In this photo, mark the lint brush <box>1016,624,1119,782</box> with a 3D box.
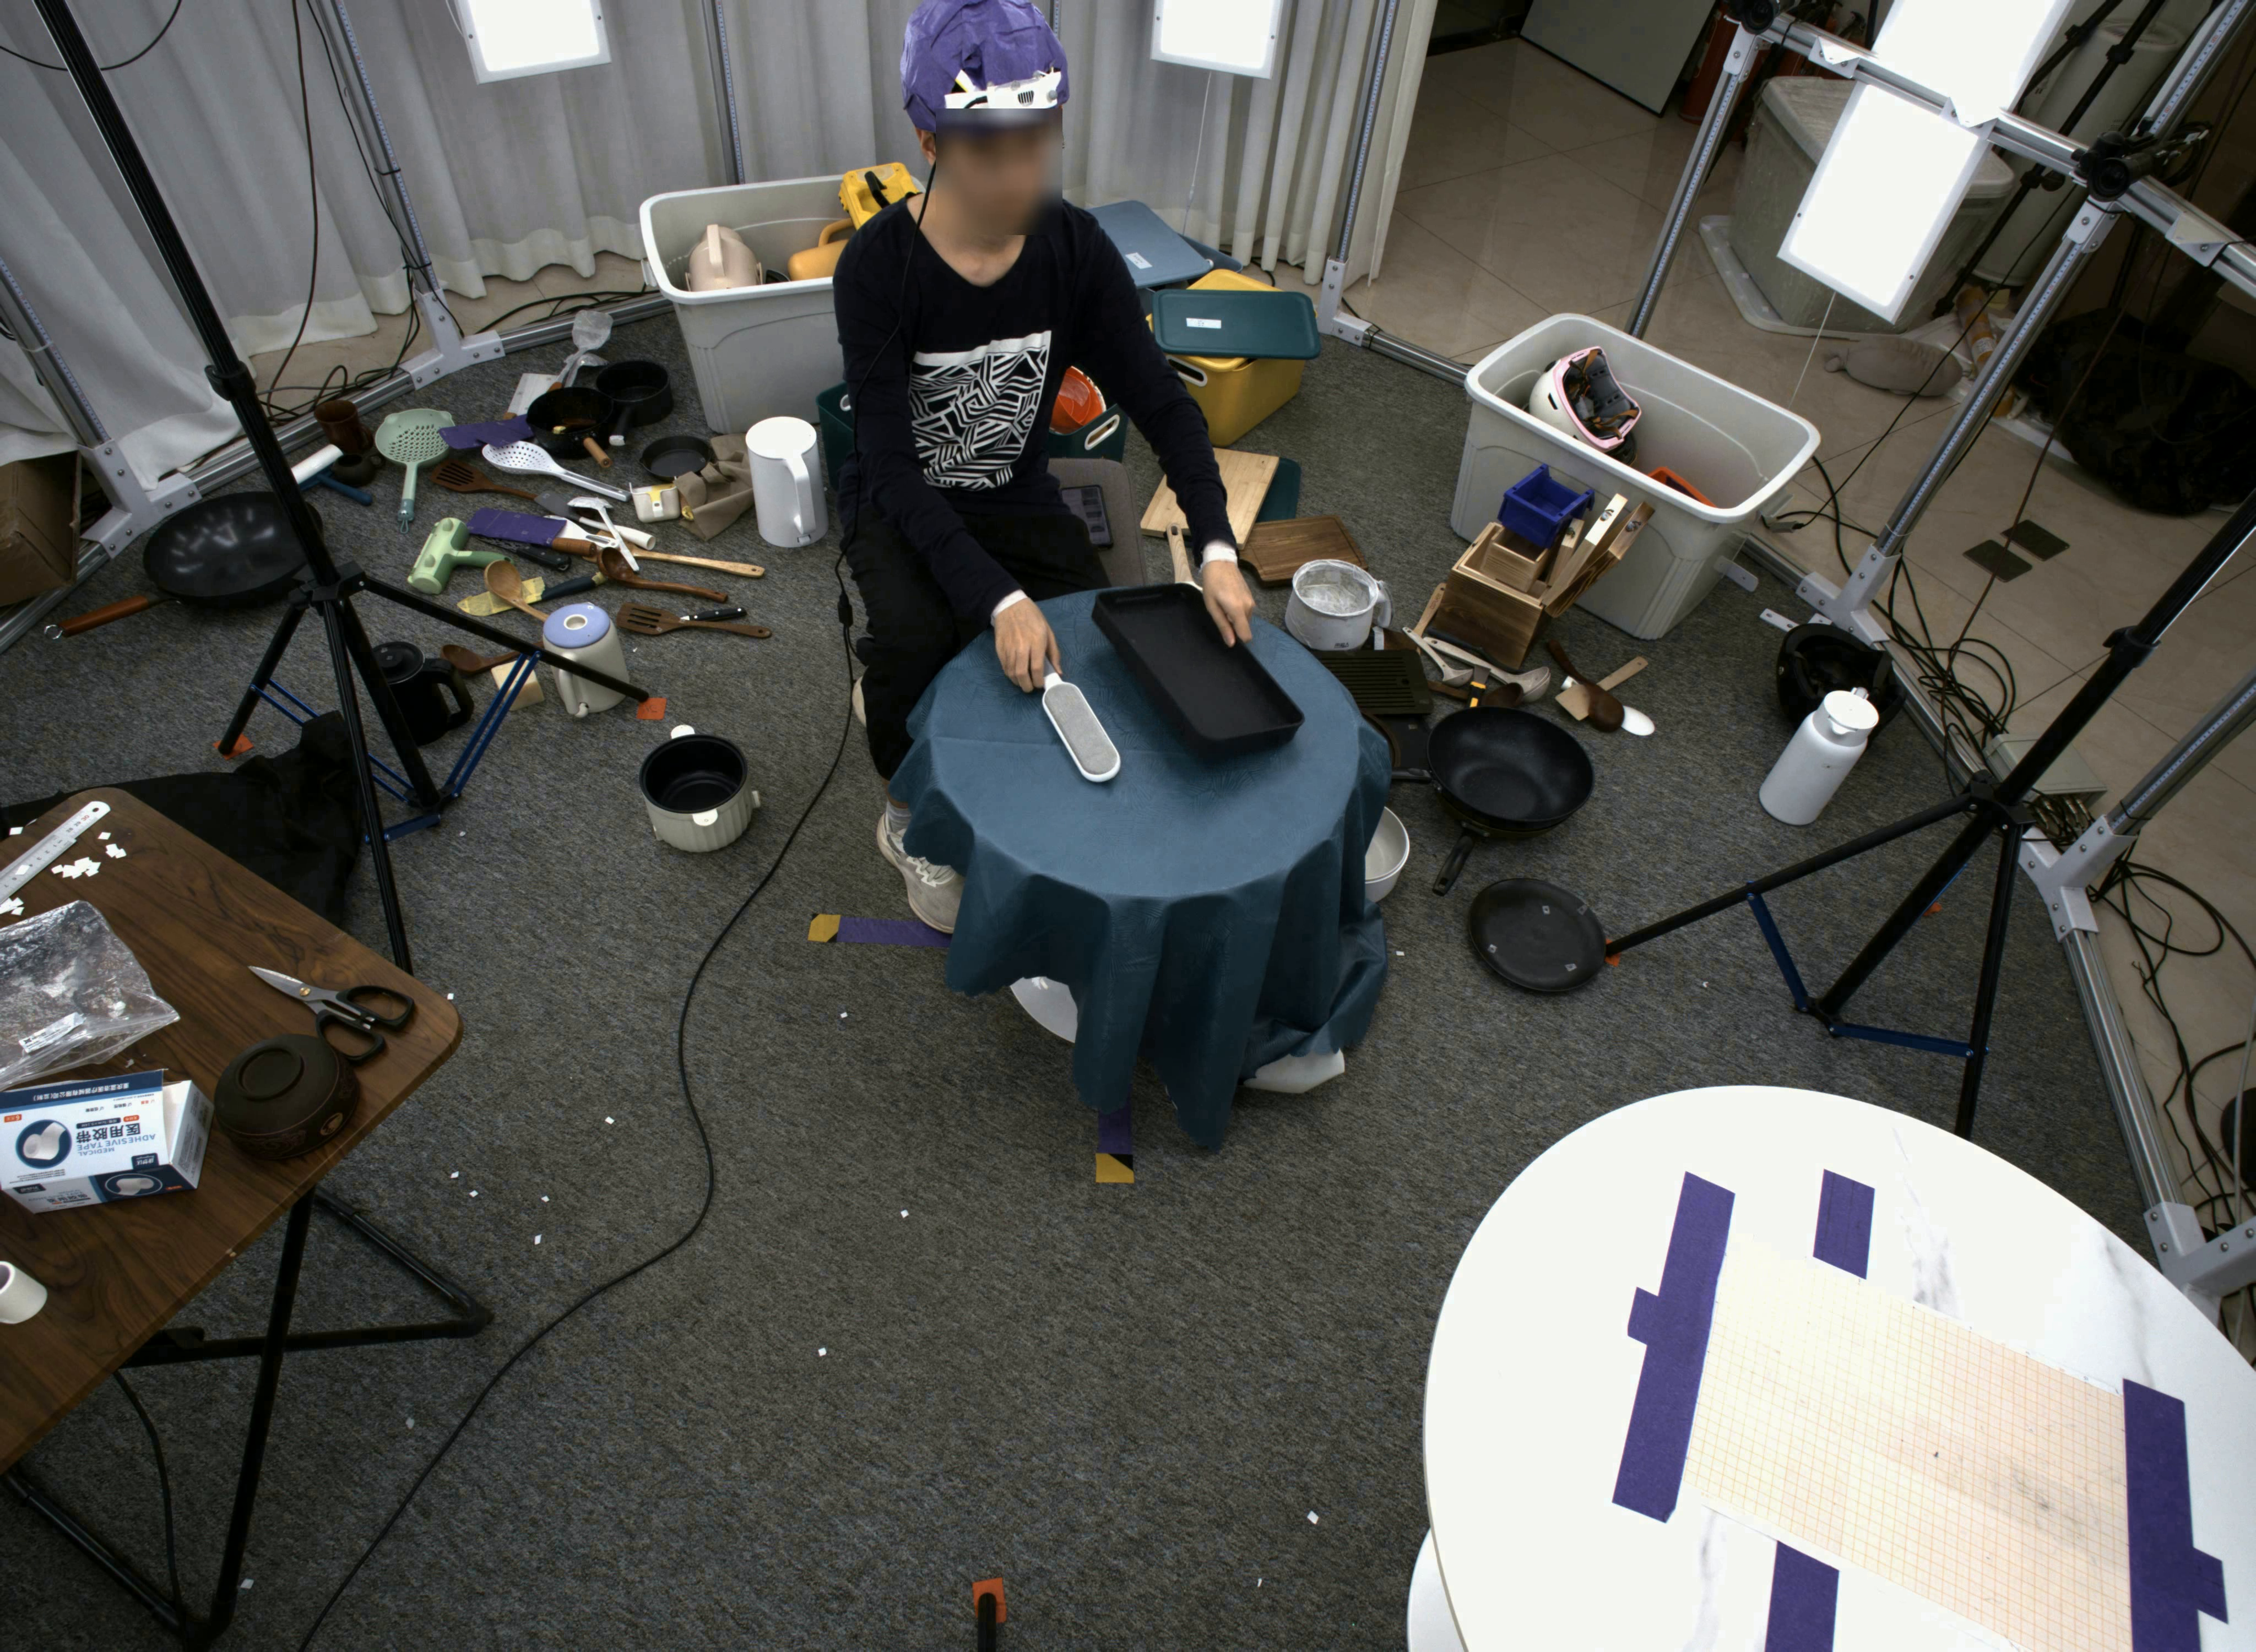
[{"bbox_3d":[-0.090,-0.178,1.791,0.060,0.020,0.316,-25,56,-6],"label":"lint brush"}]

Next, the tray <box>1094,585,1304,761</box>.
[{"bbox_3d":[0.095,-0.222,1.806,0.184,0.036,0.325,-12,52,-30],"label":"tray"}]
